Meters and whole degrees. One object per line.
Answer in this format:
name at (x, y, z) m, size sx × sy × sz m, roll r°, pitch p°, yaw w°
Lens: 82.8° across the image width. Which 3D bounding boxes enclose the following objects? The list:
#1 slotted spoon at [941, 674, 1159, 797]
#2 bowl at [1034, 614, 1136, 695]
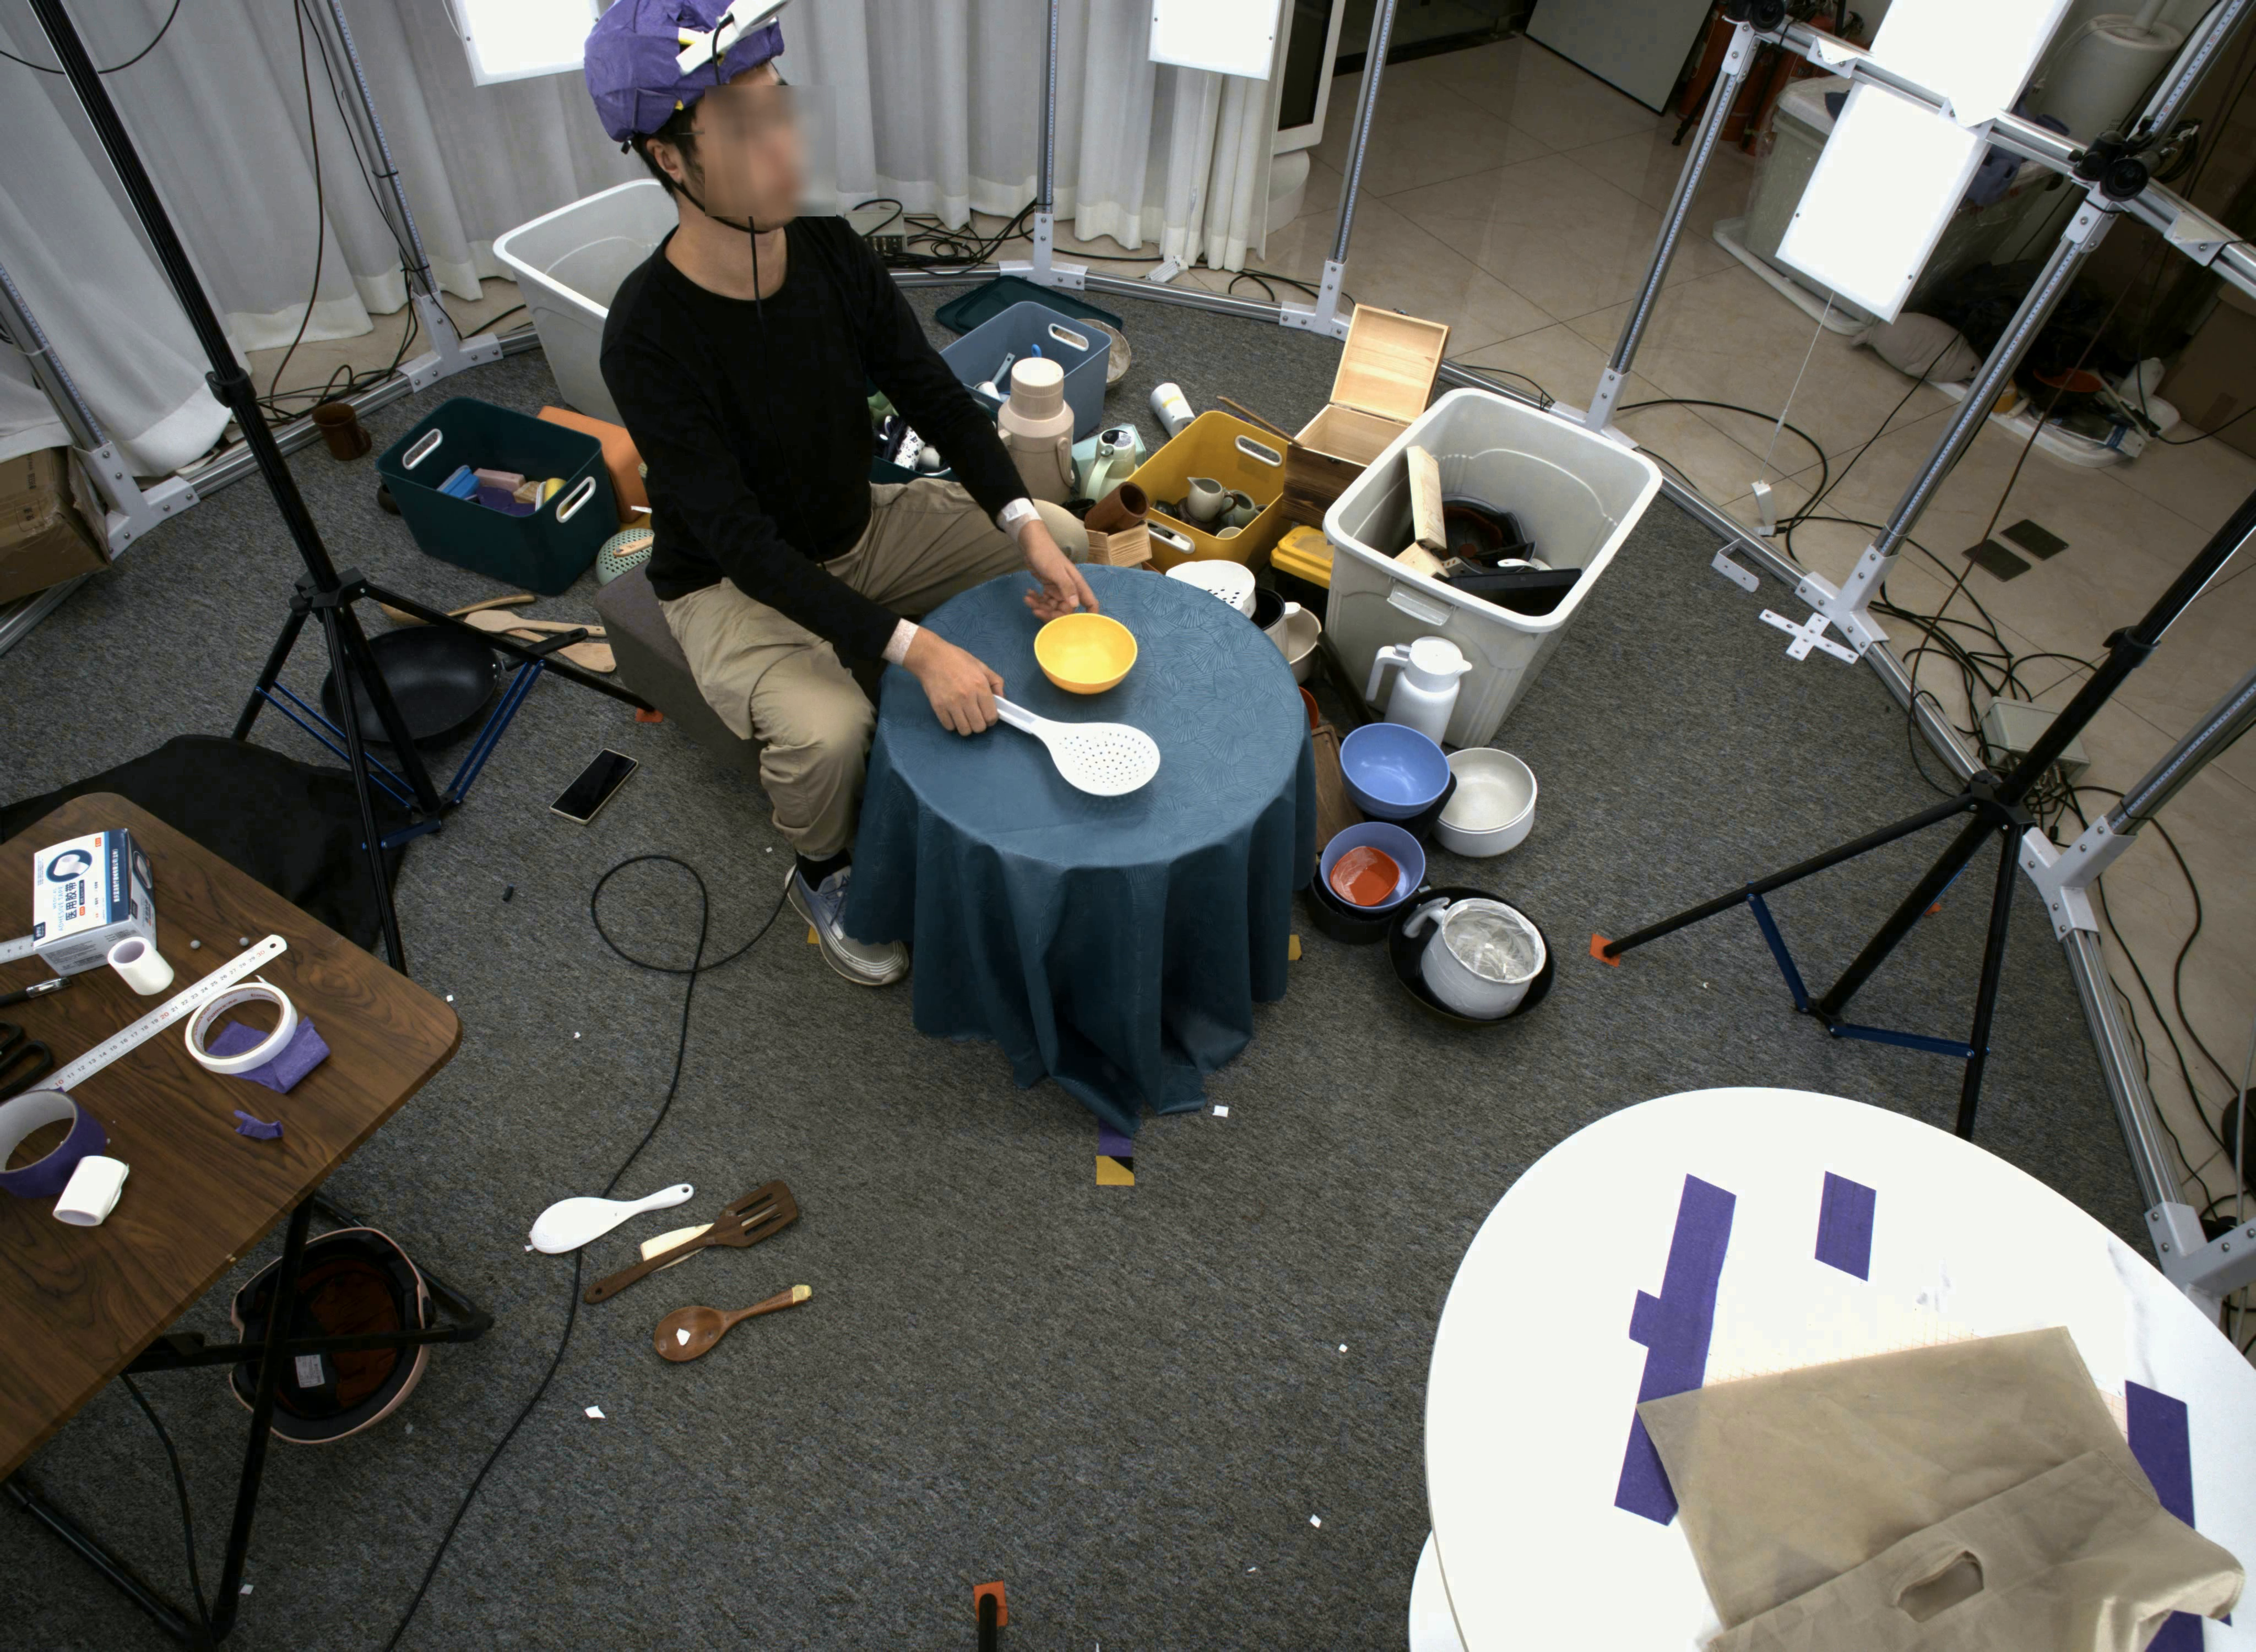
slotted spoon at (-0.115, -0.130, 1.744) m, size 0.353 × 0.044 × 0.138 m, roll 30°, pitch 53°, yaw 21°
bowl at (-0.063, -0.233, 1.832) m, size 0.145 × 0.058 × 0.149 m, roll 3°, pitch 49°, yaw -4°
